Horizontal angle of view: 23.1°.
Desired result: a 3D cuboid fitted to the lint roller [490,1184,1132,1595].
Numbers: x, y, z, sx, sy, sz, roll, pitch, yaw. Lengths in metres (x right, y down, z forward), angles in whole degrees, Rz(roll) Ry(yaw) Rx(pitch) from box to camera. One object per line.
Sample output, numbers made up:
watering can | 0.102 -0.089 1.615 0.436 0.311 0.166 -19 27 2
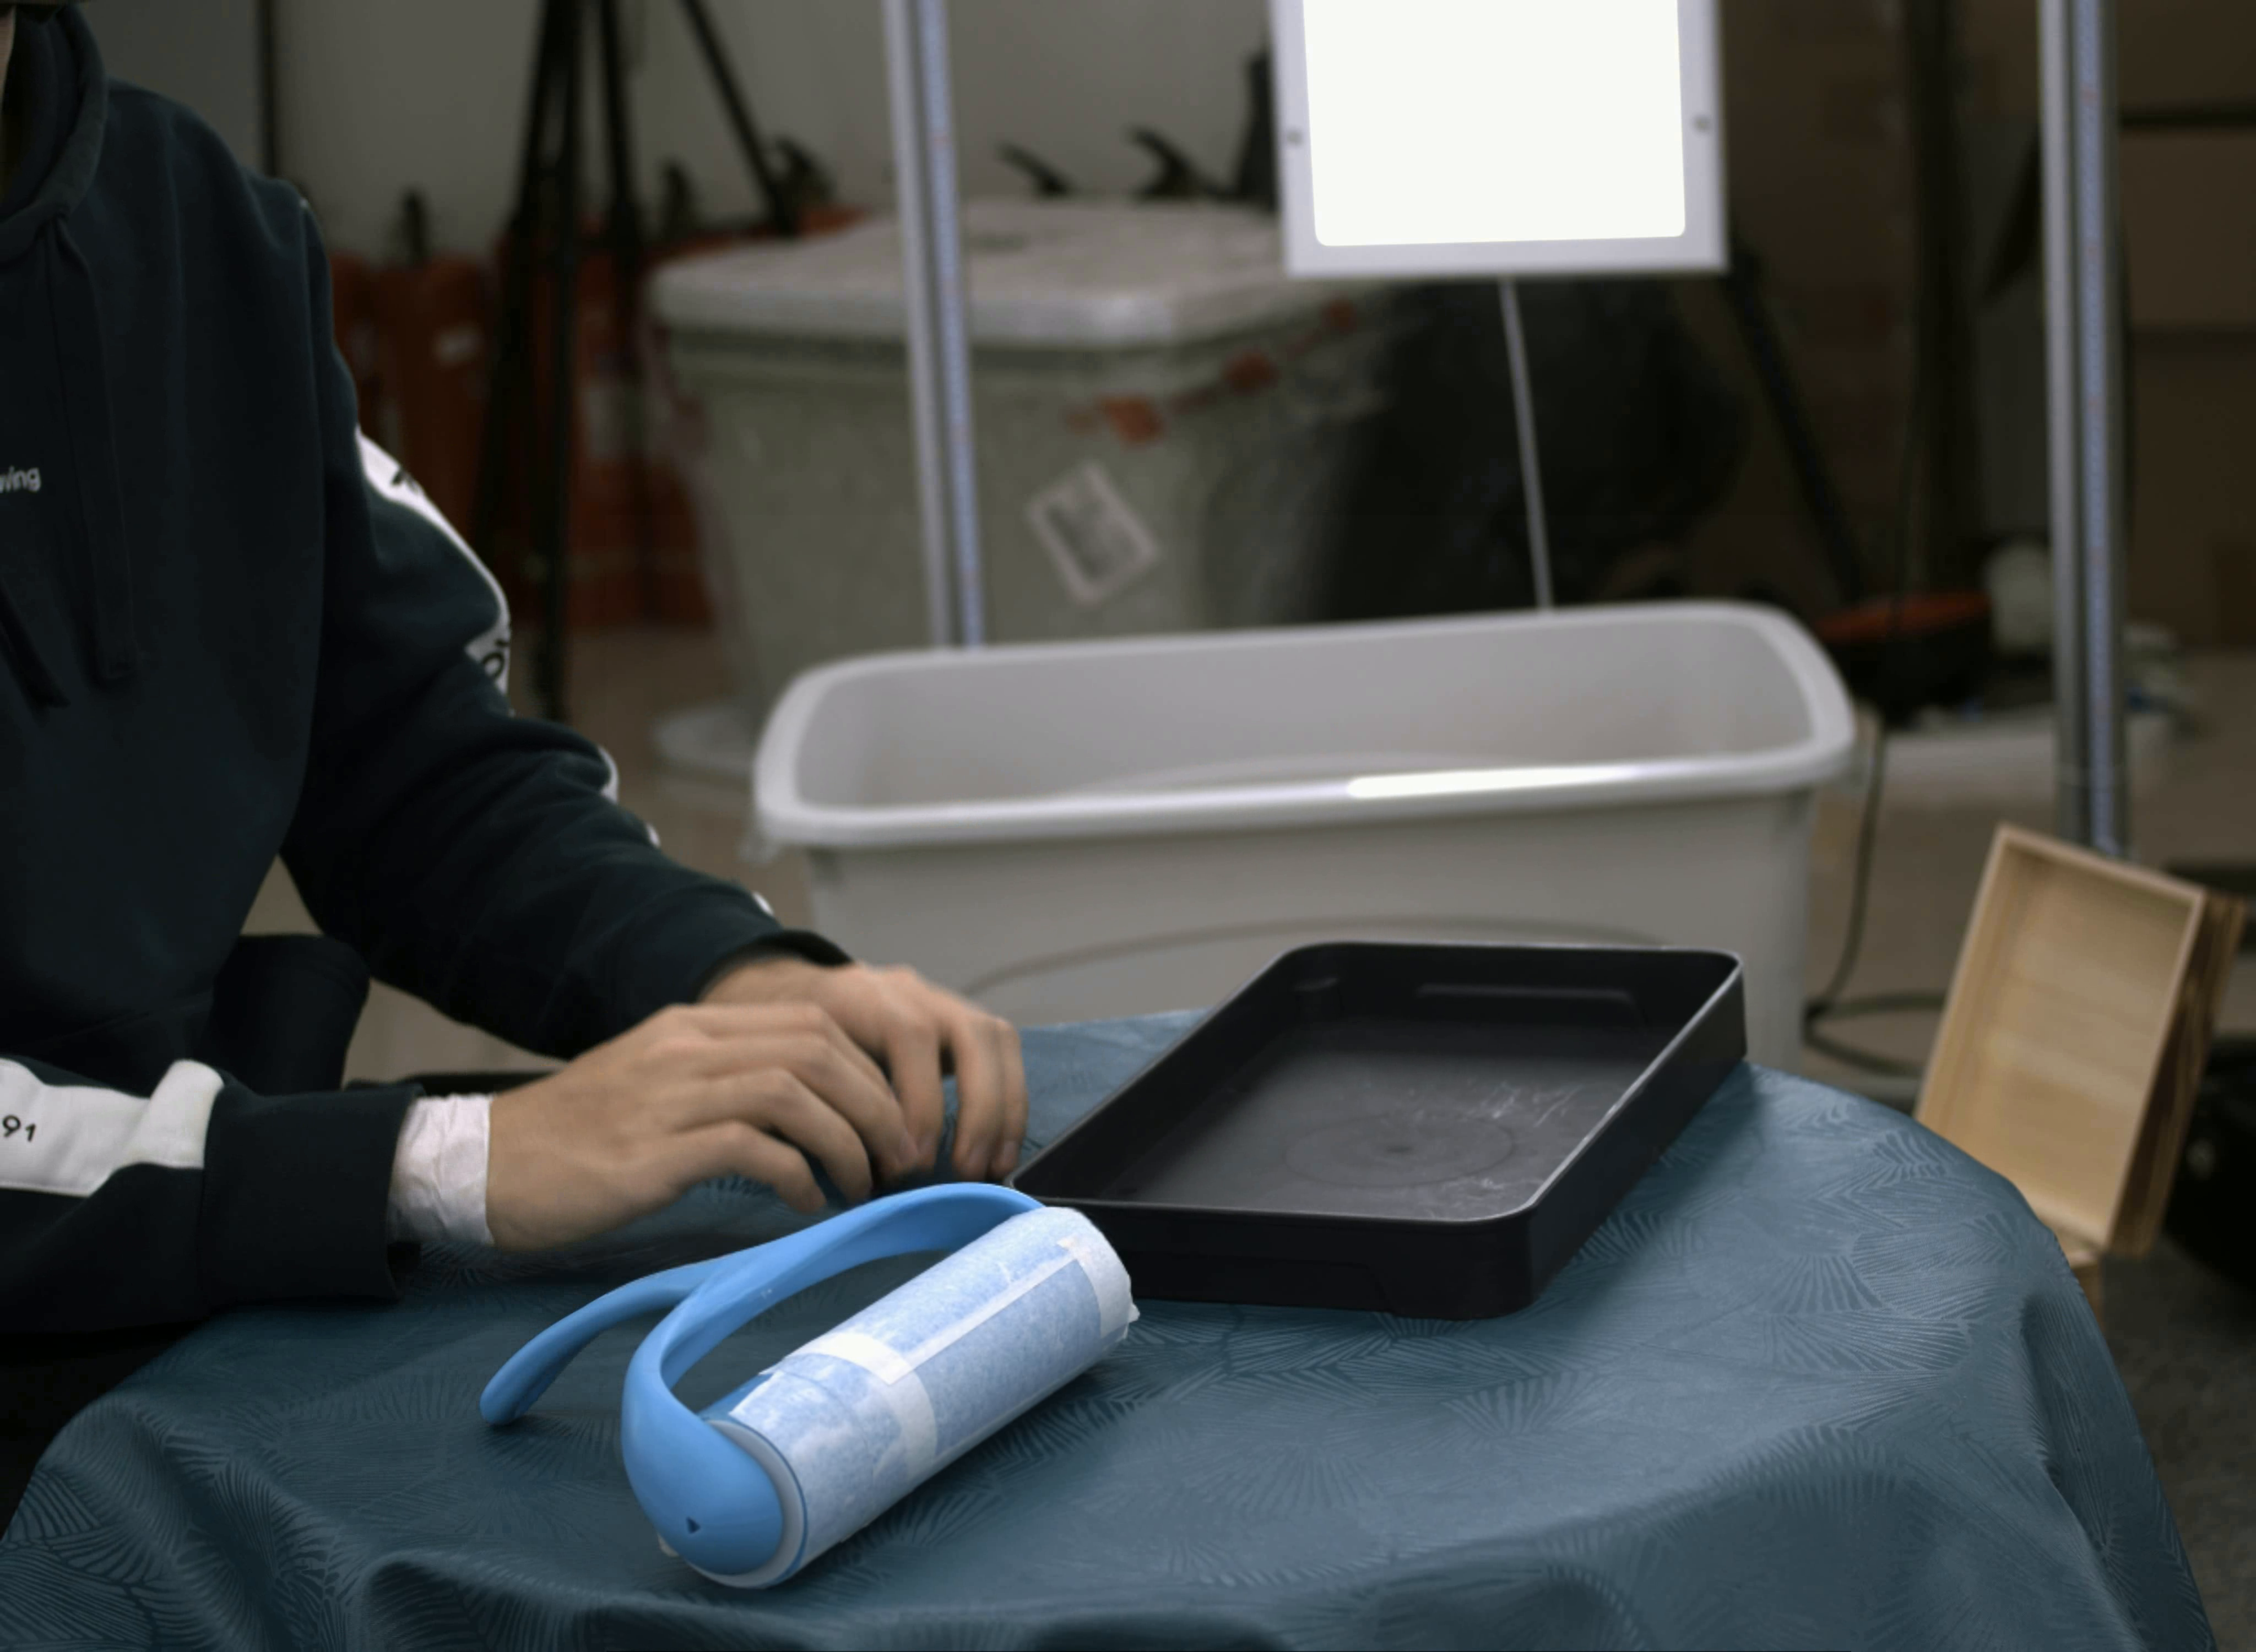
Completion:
lint roller | -0.119 0.164 1.668 0.183 0.068 0.224 3 18 27

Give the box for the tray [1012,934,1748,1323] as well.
tray | 0.096 0.099 1.901 0.187 0.037 0.312 0 16 21
